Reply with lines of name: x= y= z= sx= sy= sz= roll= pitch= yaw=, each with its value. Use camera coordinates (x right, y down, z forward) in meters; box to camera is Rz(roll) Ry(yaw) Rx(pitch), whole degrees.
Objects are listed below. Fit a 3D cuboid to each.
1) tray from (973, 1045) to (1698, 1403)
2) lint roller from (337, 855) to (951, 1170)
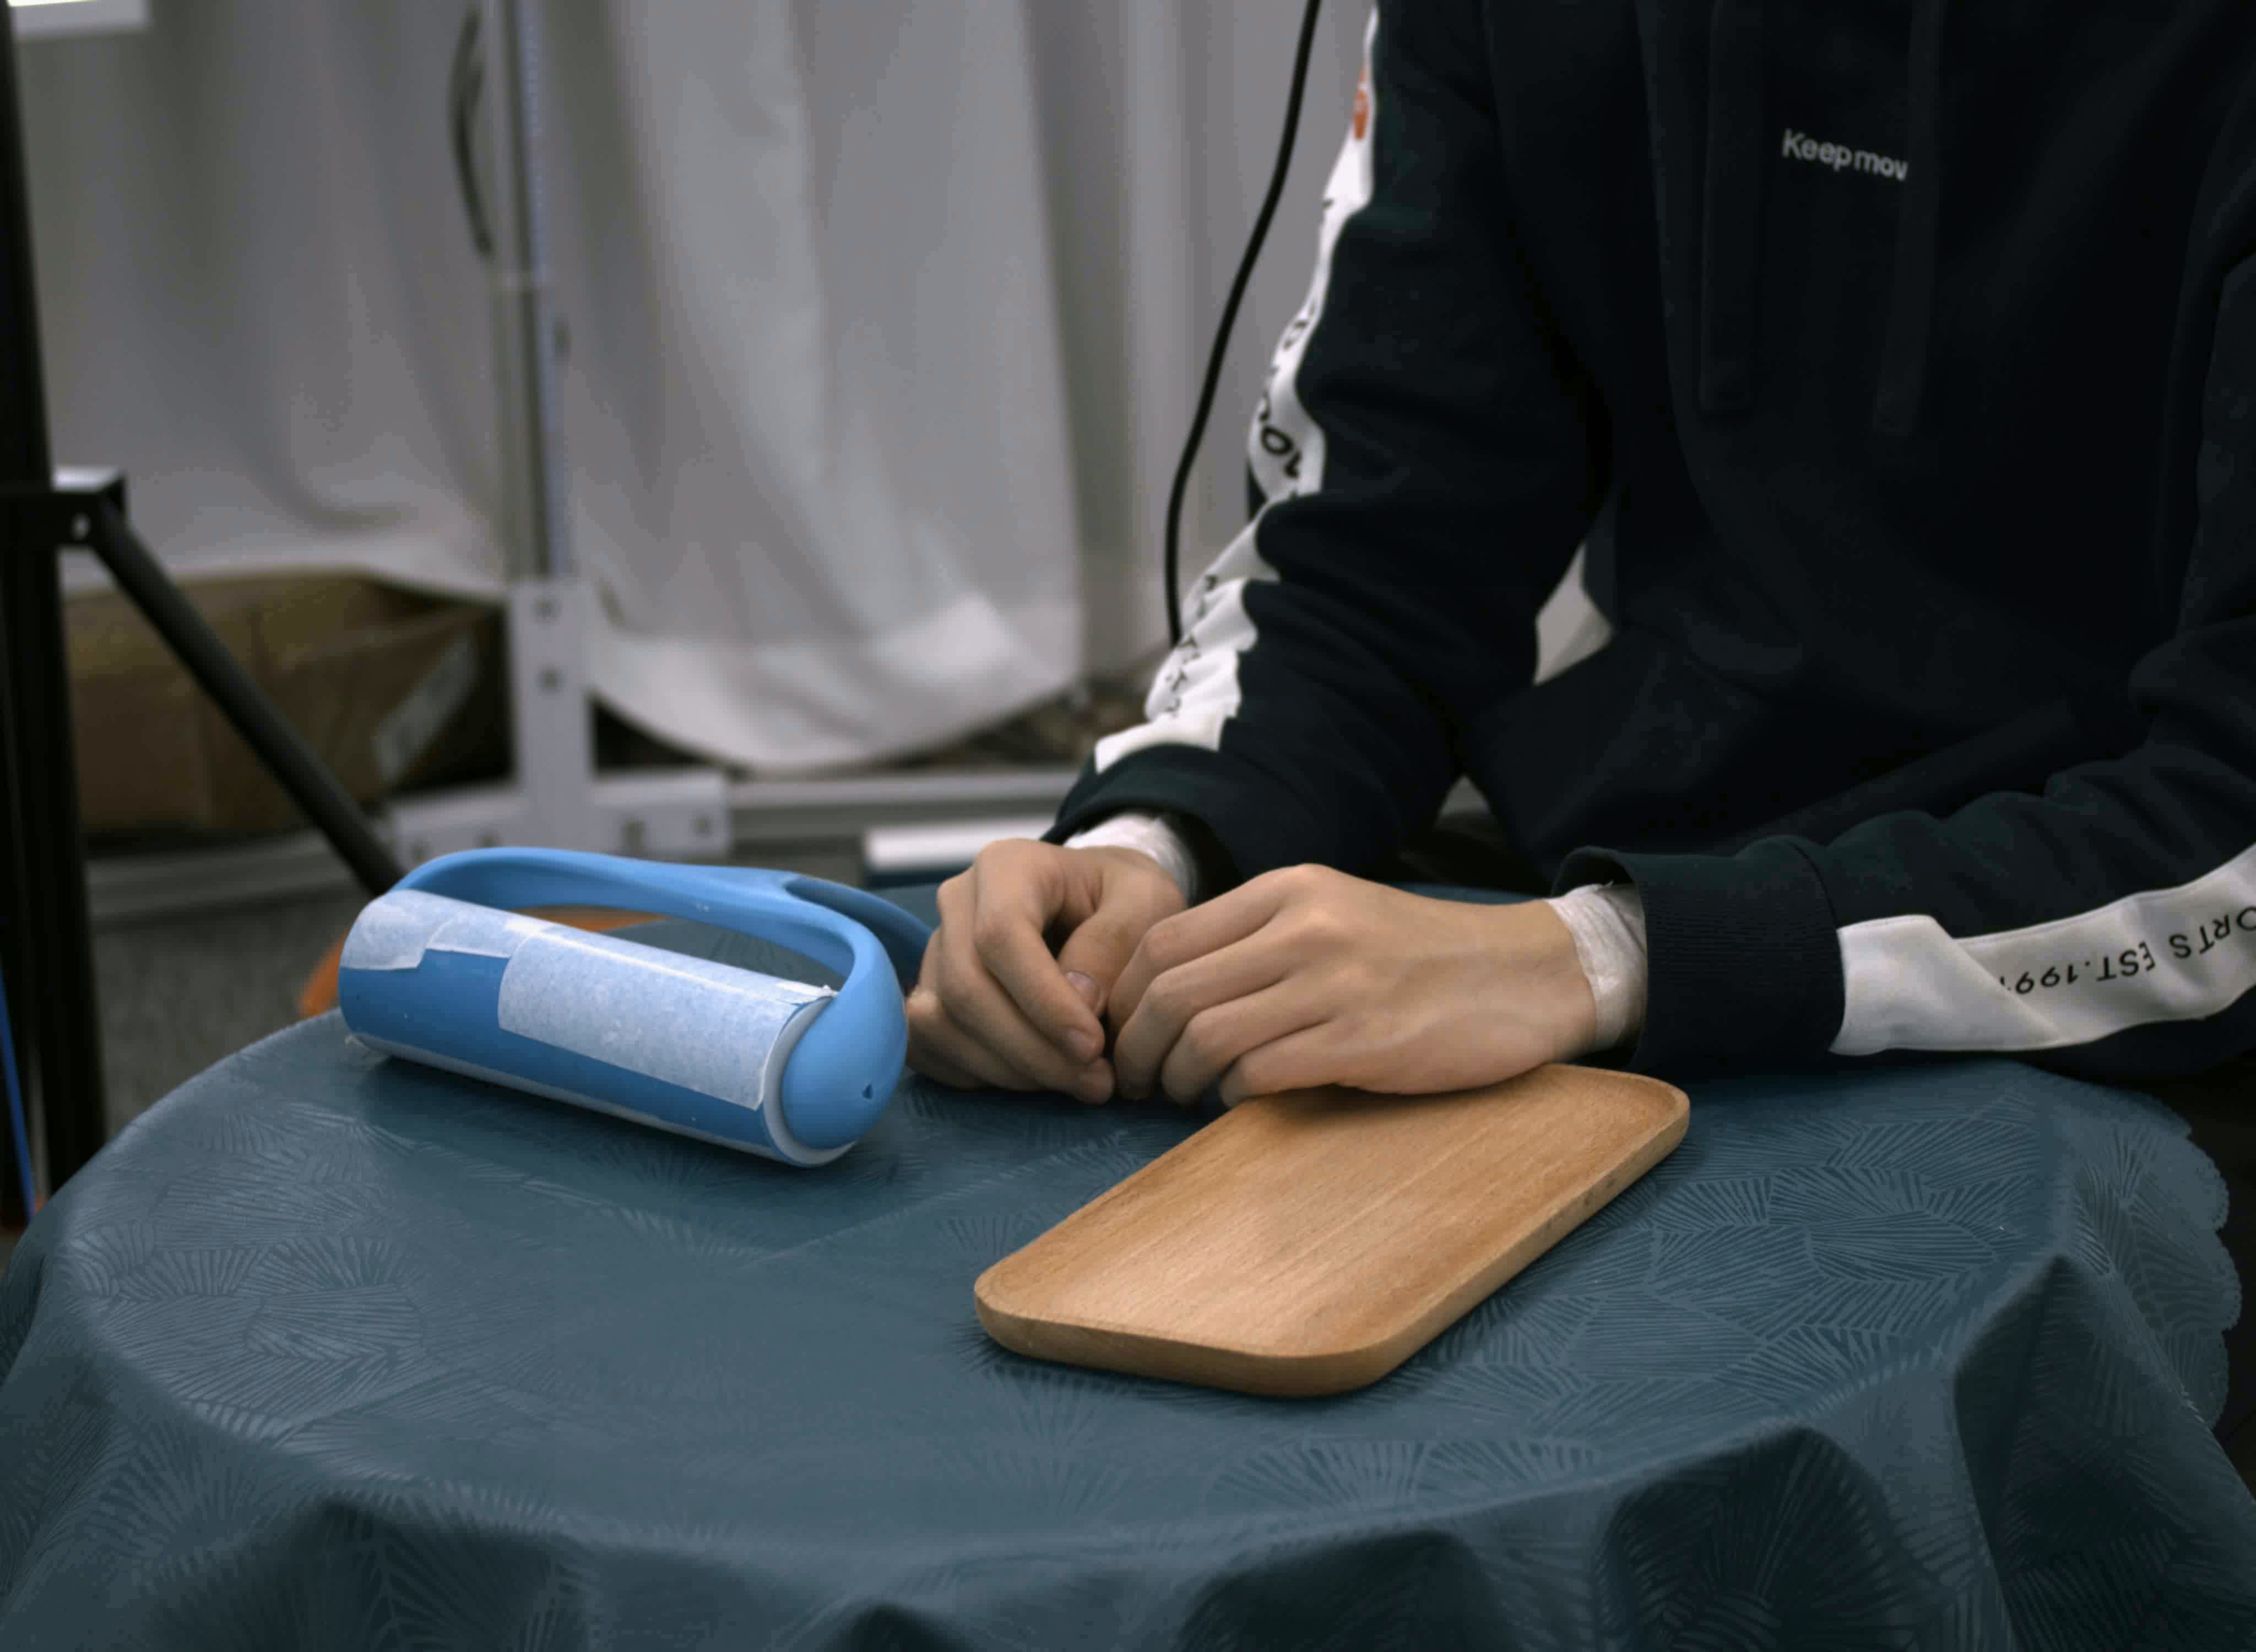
tray: x=0.064 y=0.110 z=1.508 sx=0.133 sy=0.023 sz=0.246 roll=9 pitch=19 yaw=29
lint roller: x=-0.125 y=0.046 z=1.693 sx=0.234 sy=0.068 sz=0.176 roll=9 pitch=21 yaw=40
